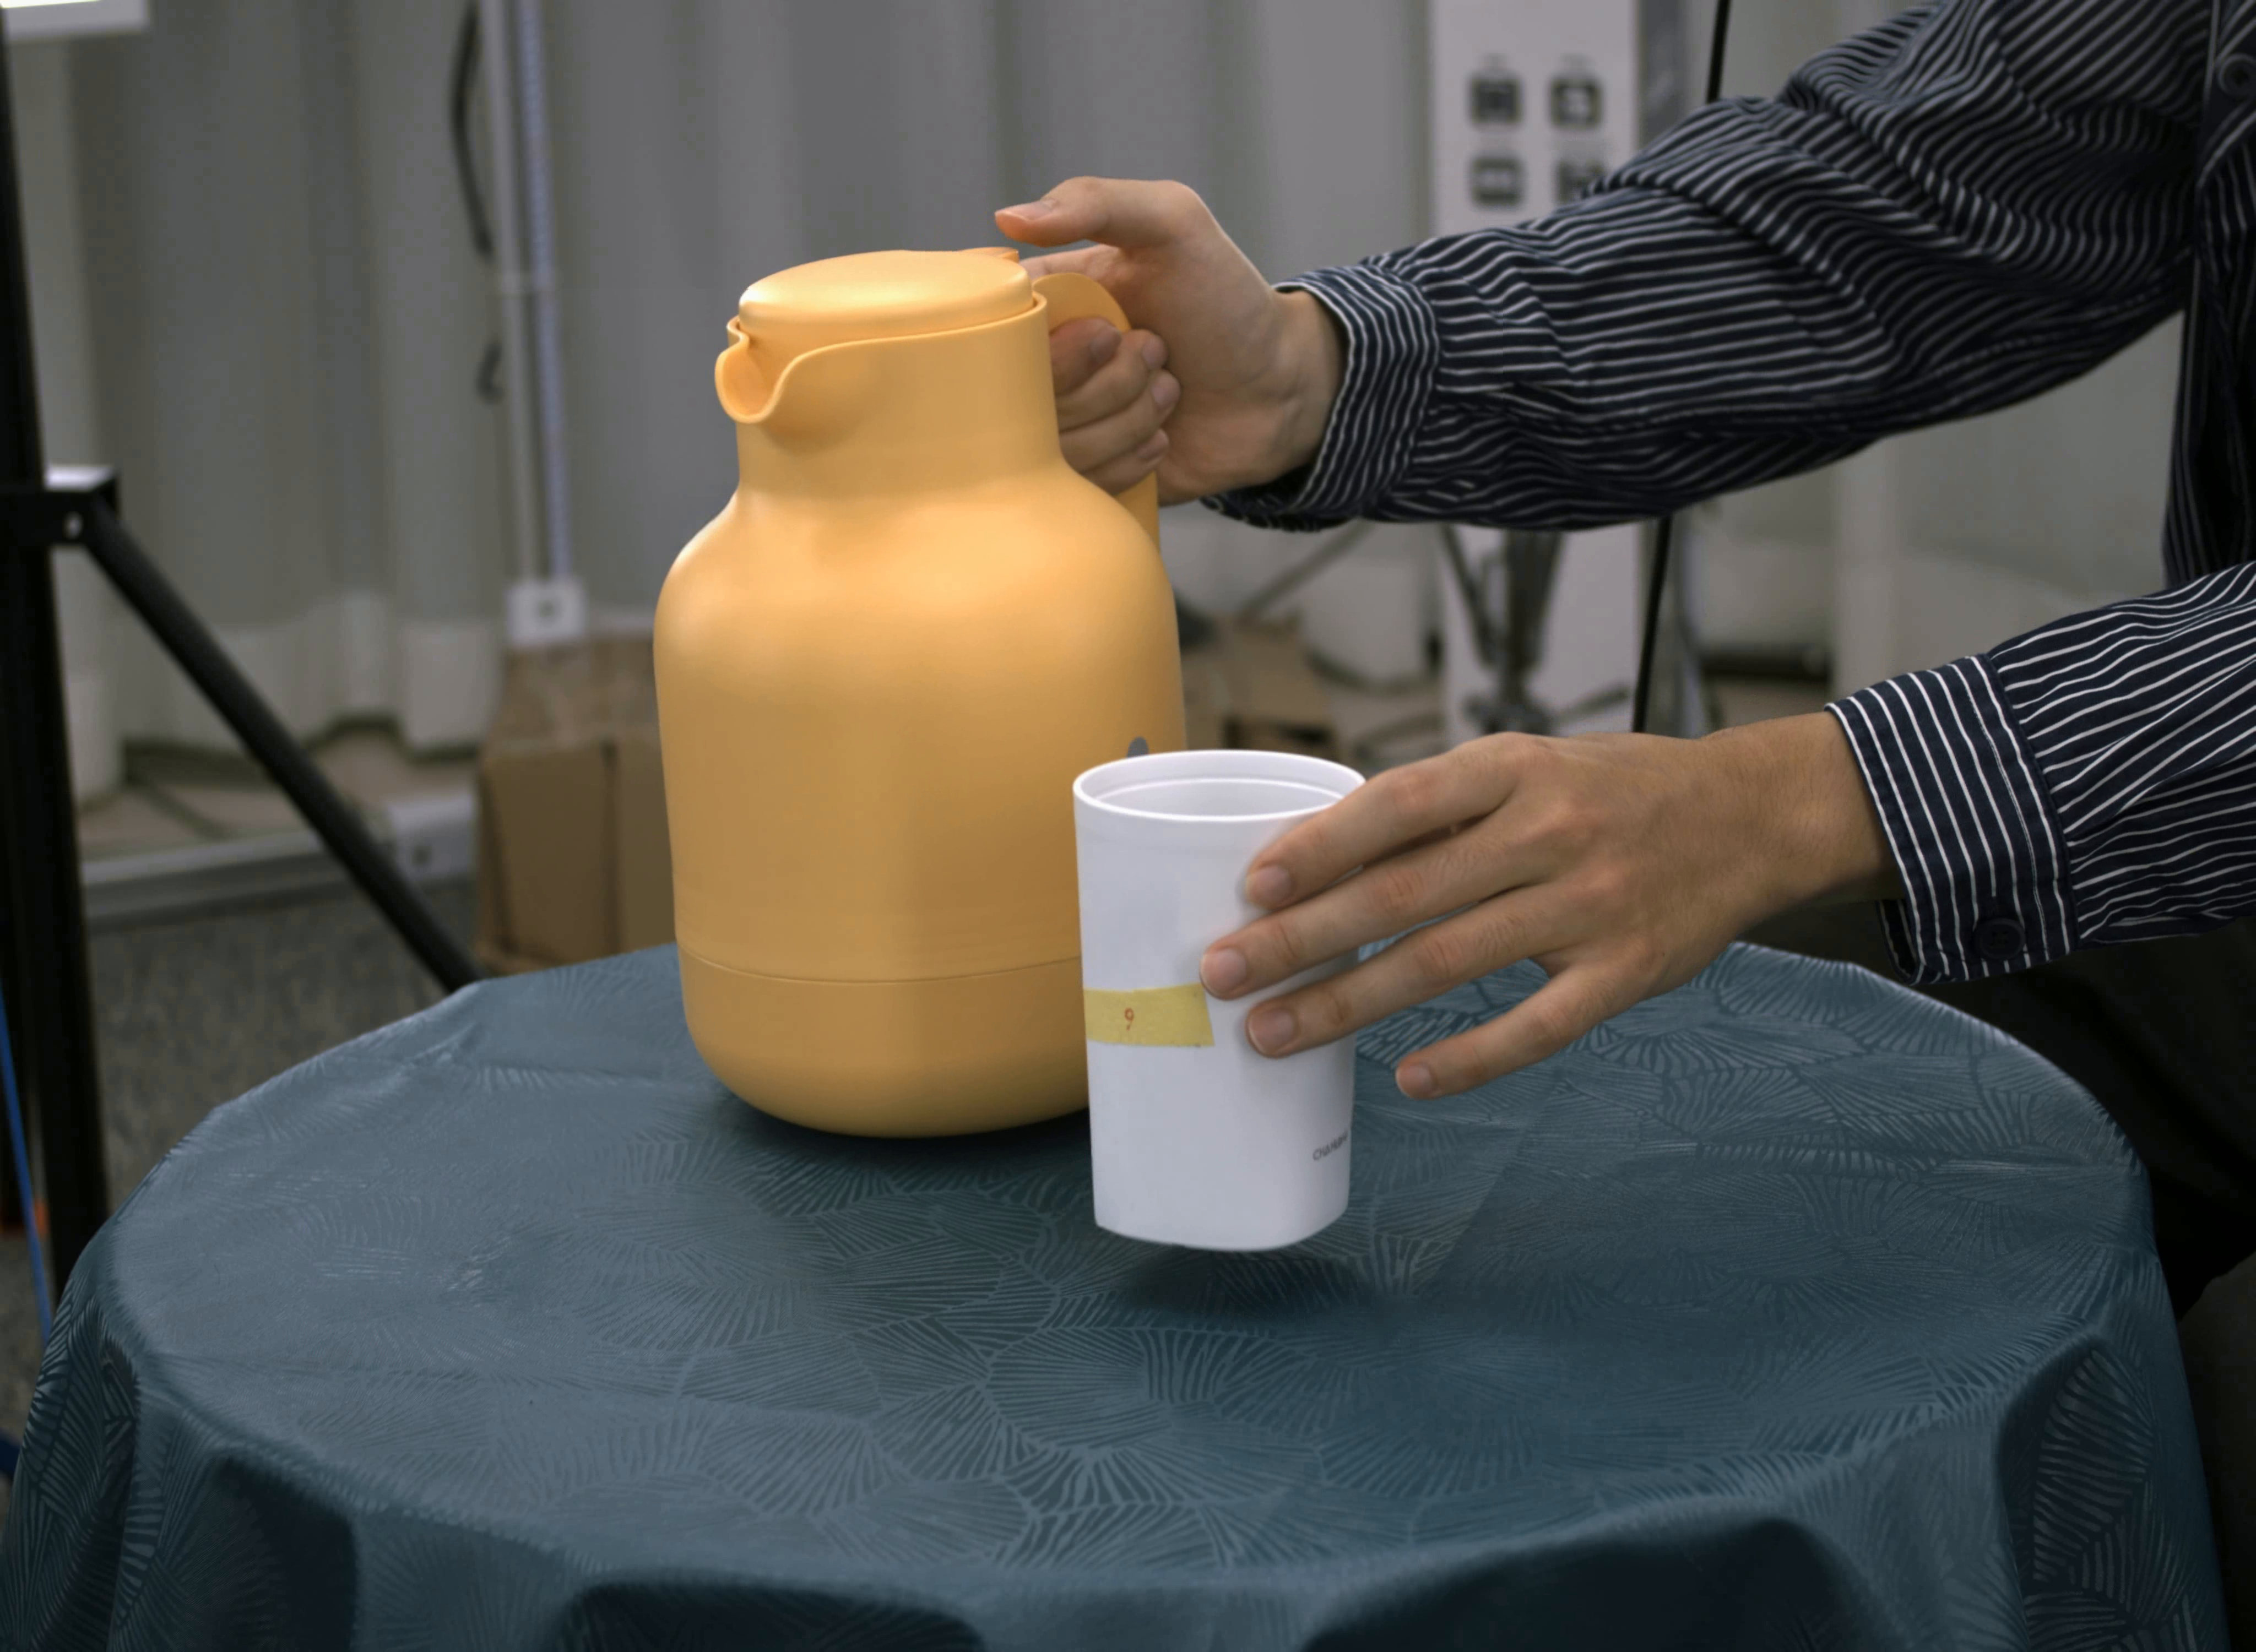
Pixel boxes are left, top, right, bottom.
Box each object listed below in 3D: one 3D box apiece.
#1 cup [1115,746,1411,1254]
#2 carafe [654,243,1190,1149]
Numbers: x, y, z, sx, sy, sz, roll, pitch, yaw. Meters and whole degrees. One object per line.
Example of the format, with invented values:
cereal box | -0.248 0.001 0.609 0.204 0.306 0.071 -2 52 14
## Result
cup | 0.037 0.048 1.465 0.081 0.125 0.082 0 13 -1
carafe | -0.052 -0.047 1.631 0.166 0.260 0.199 6 18 31
